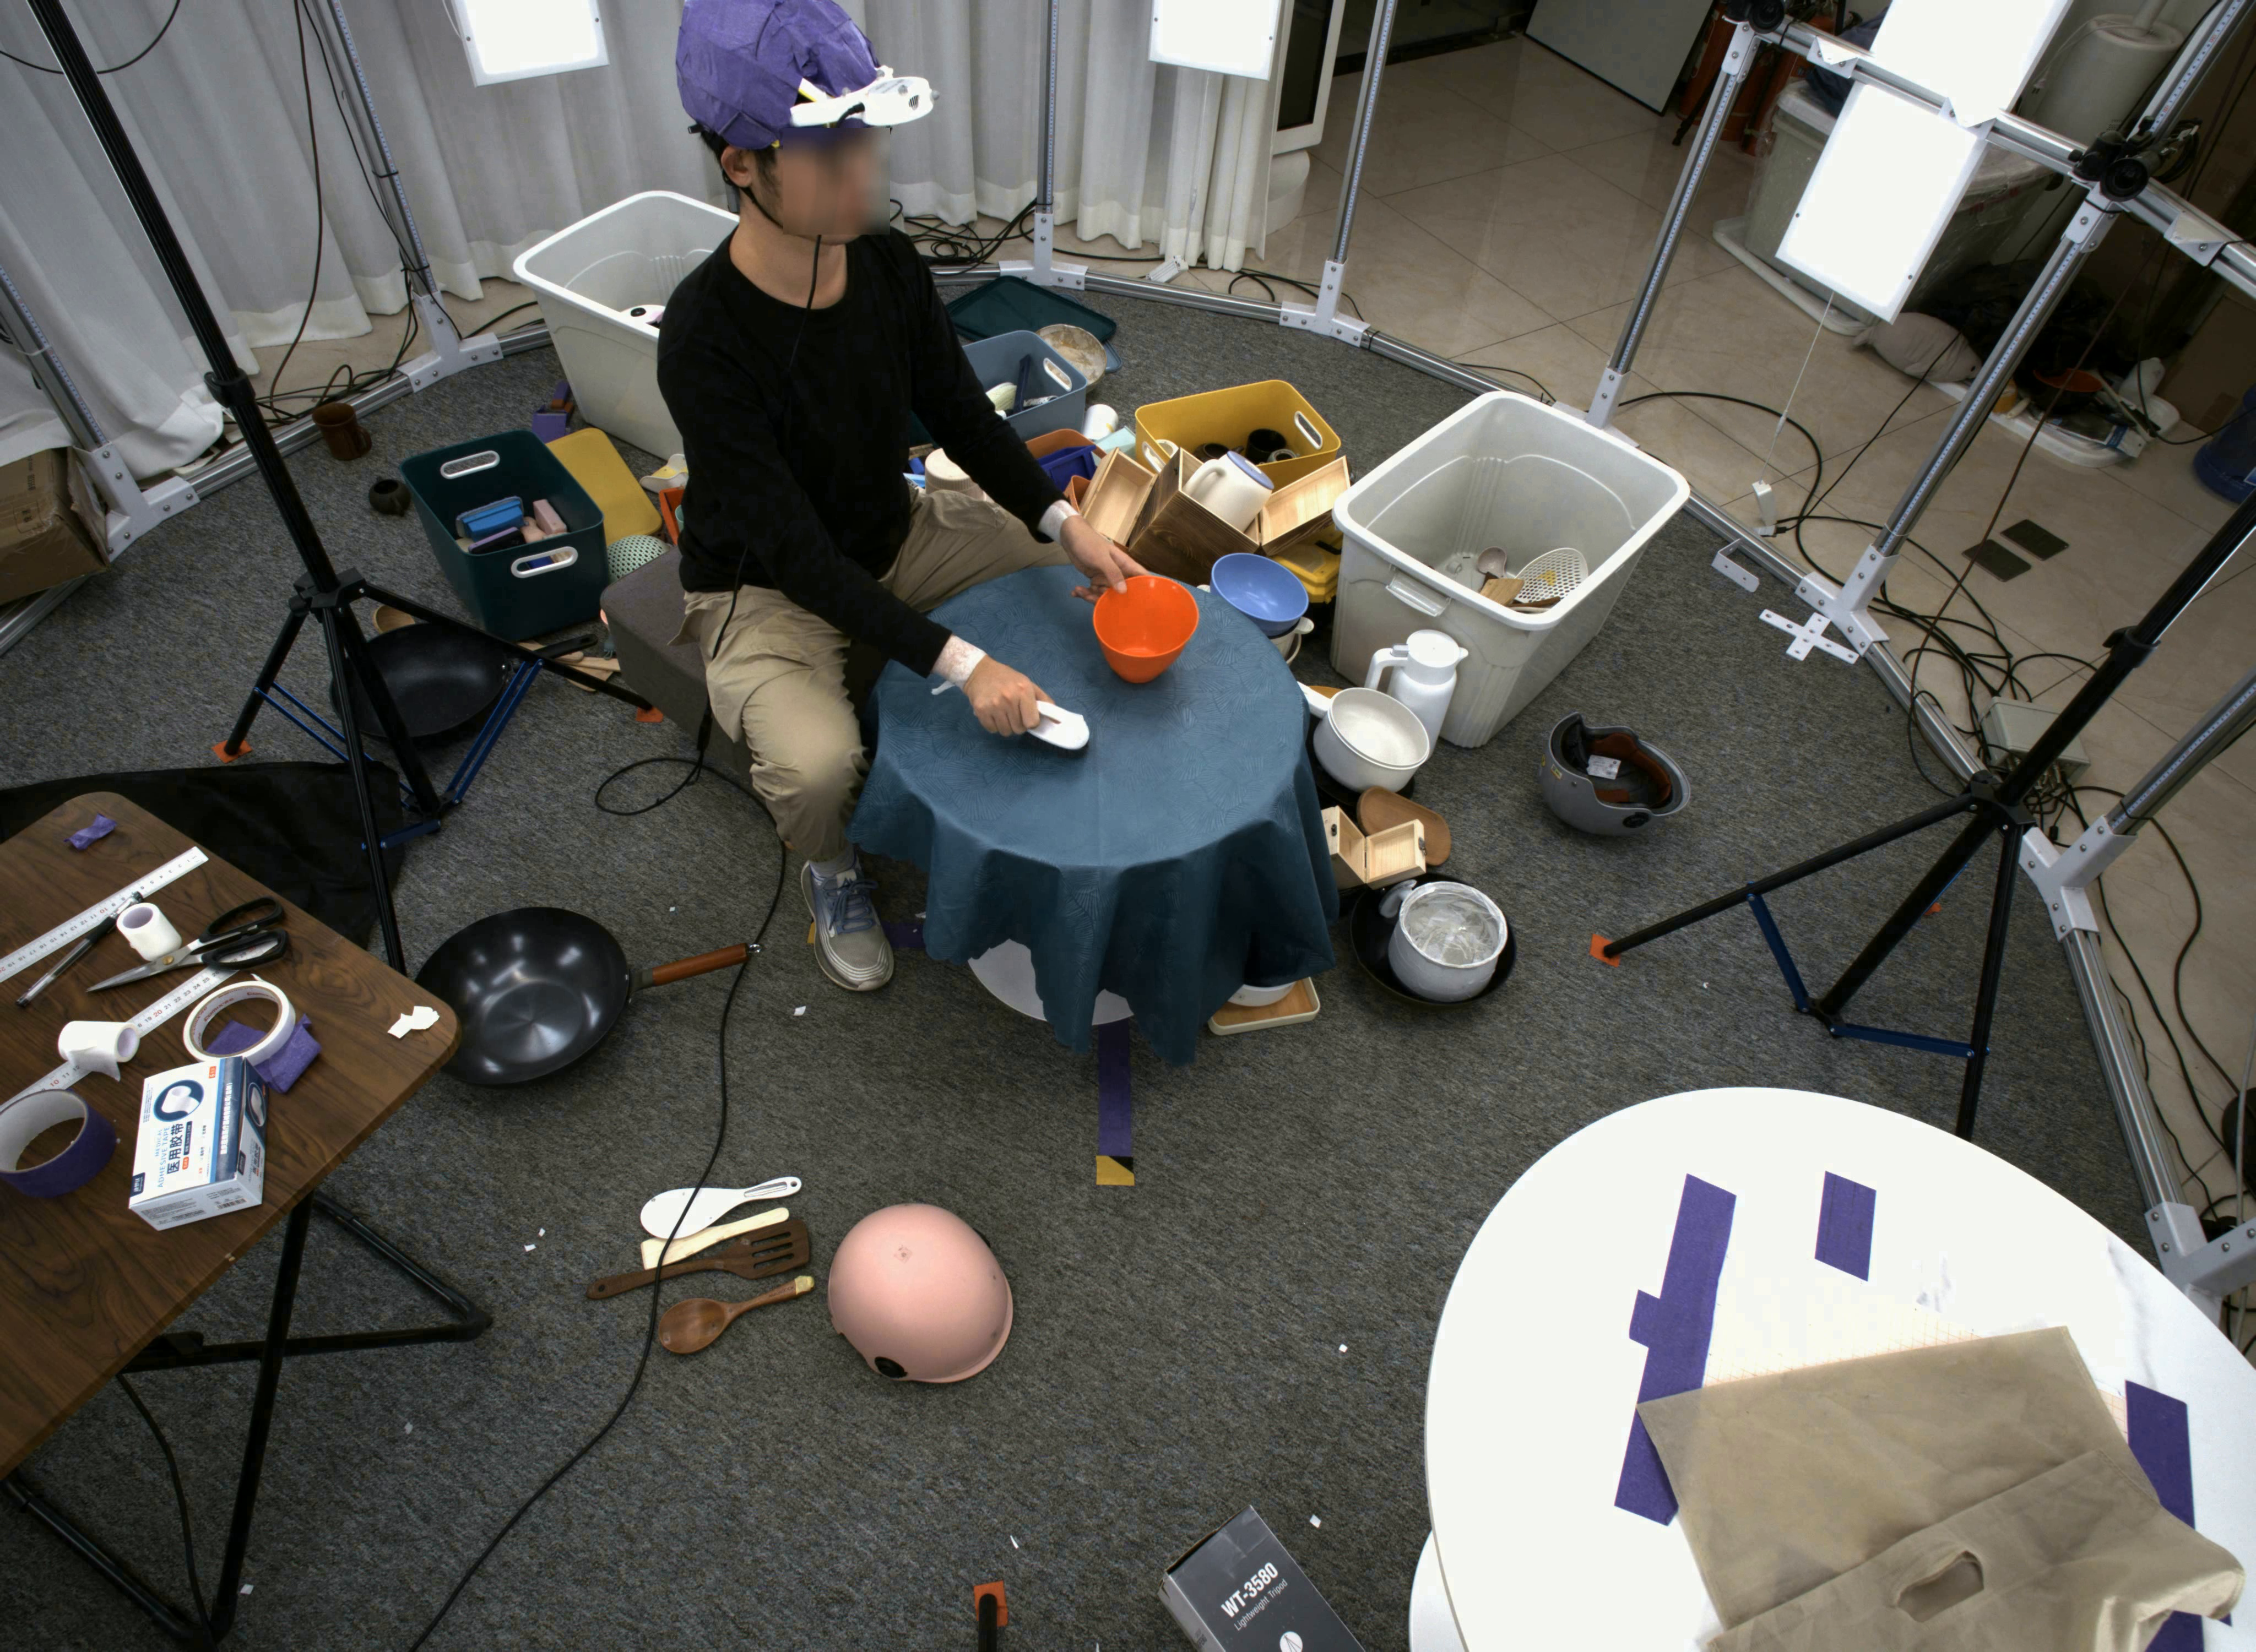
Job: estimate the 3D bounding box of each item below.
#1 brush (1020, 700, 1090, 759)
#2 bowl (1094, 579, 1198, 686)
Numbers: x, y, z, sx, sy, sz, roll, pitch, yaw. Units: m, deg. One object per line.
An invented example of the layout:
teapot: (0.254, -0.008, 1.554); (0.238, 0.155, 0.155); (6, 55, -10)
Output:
brush: (-0.100, -0.138, 1.723); (0.100, 0.071, 0.051); (26, 70, 11)
bowl: (0.024, -0.267, 1.841); (0.148, 0.102, 0.152); (1, 49, -2)
